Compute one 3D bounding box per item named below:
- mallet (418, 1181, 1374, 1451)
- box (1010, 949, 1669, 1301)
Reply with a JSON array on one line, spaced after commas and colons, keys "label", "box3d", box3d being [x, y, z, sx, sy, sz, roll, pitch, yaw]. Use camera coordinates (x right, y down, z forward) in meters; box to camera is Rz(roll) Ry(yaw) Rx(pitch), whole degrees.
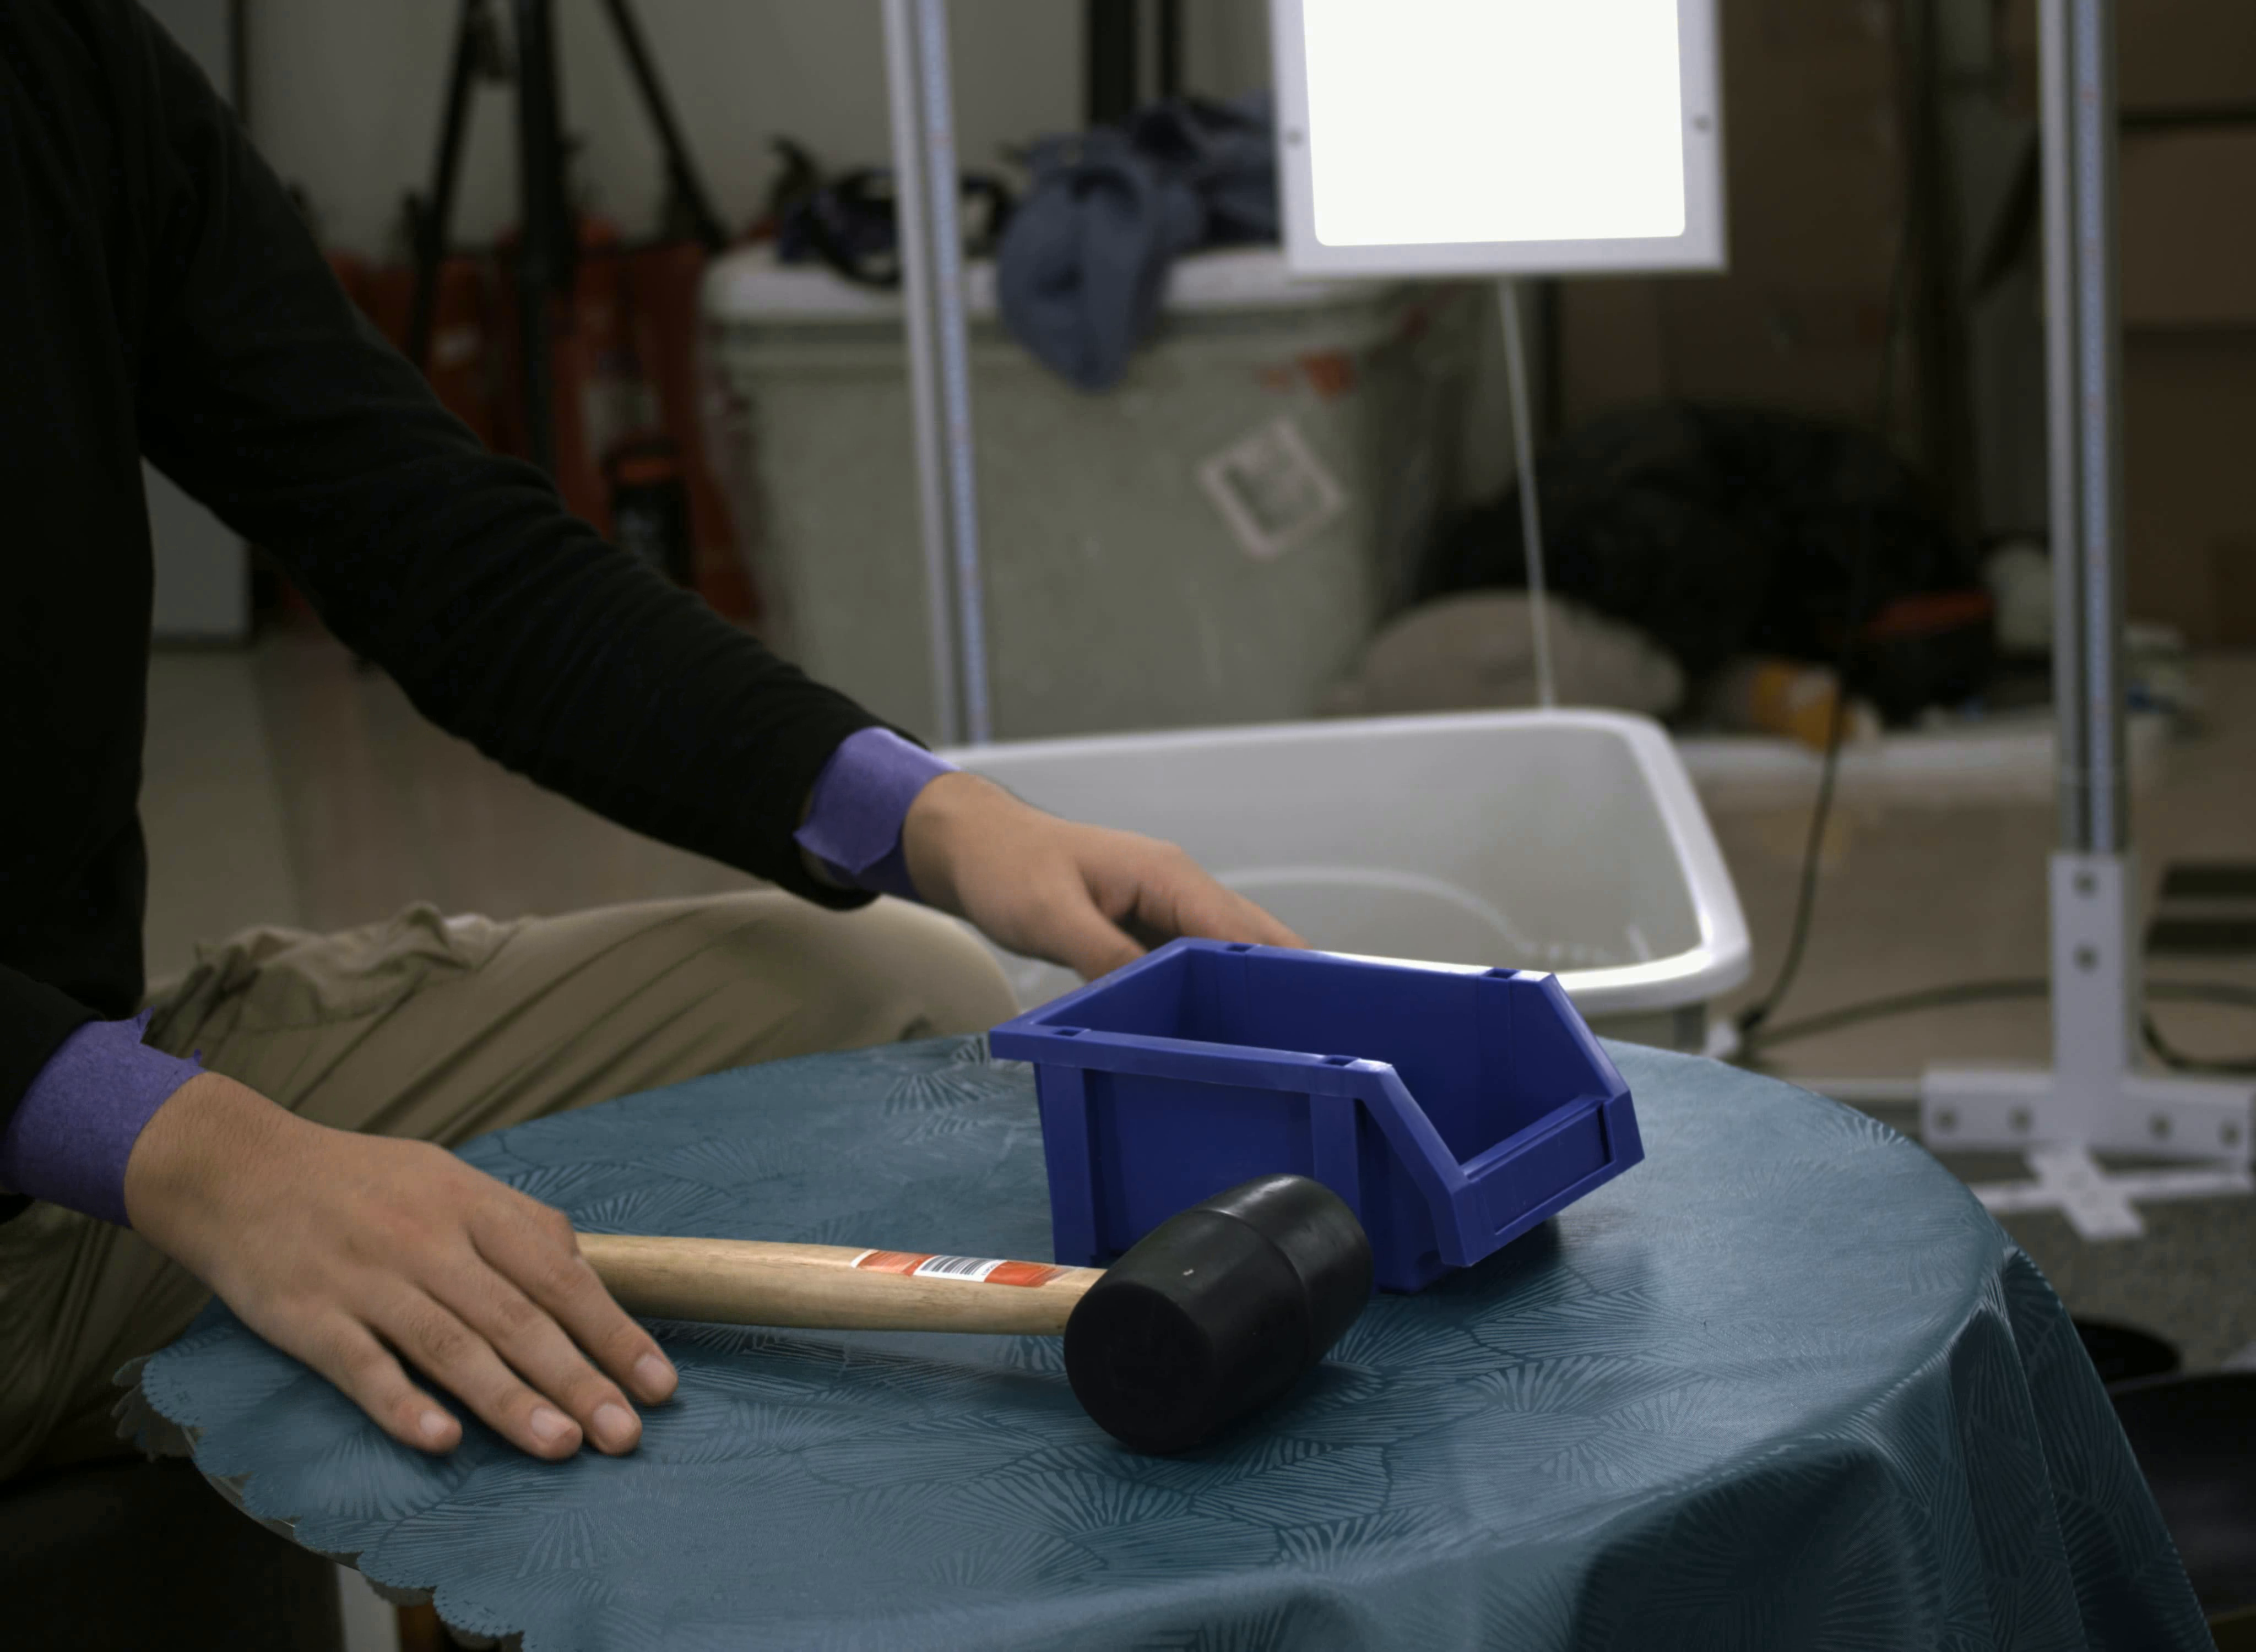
[{"label": "mallet", "box3d": [-0.088, 0.141, 1.749, 0.346, 0.064, 0.099, 4, 15, 34]}, {"label": "box", "box3d": [0.072, 0.097, 1.822, 0.183, 0.082, 0.121, 1, 15, 37]}]
